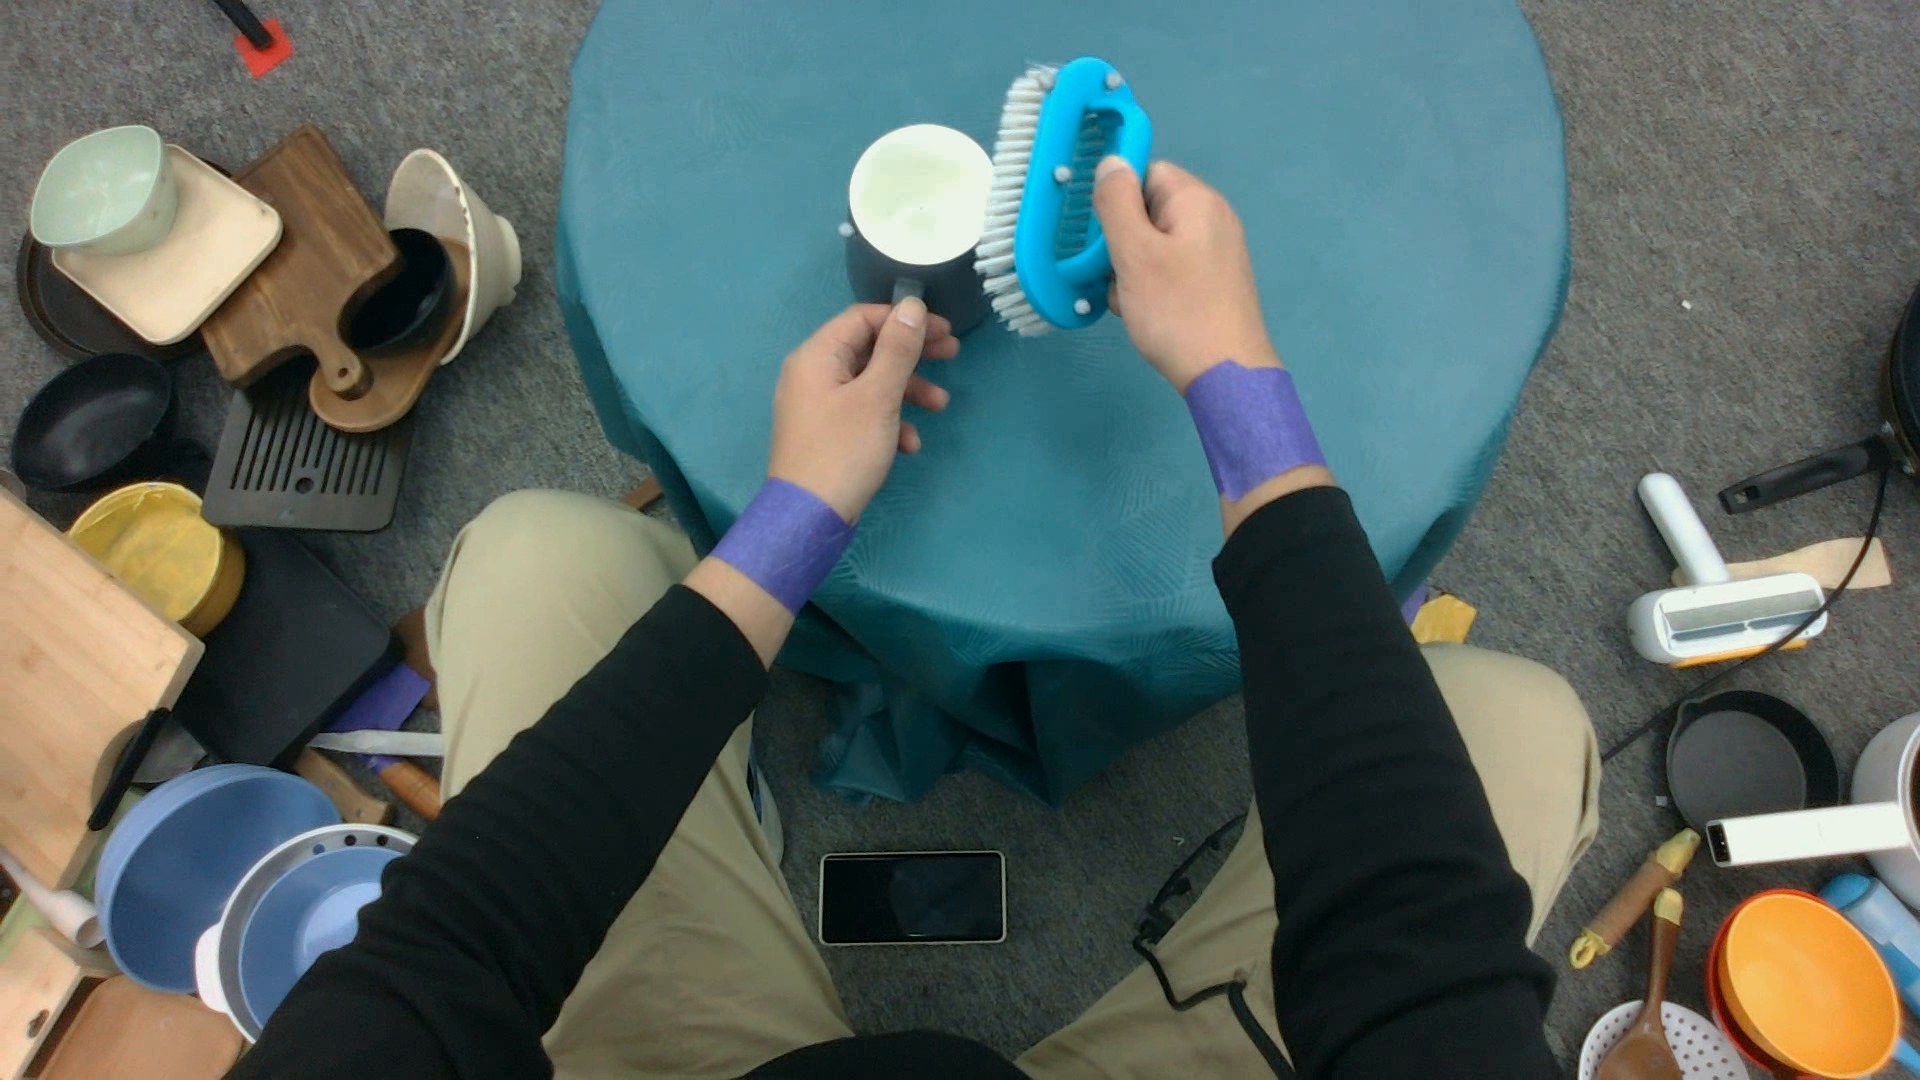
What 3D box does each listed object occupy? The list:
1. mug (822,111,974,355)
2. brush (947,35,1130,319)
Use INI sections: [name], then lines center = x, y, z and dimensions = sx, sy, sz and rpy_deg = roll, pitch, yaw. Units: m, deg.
[mug]
center = -0.034, -0.161, 0.751
dimensions = 0.093, 0.089, 0.123
rpy_deg = 11, 73, 2
[brush]
center = 0.049, -0.178, 0.680
dimensions = 0.063, 0.084, 0.142
rpy_deg = 2, 76, 41
